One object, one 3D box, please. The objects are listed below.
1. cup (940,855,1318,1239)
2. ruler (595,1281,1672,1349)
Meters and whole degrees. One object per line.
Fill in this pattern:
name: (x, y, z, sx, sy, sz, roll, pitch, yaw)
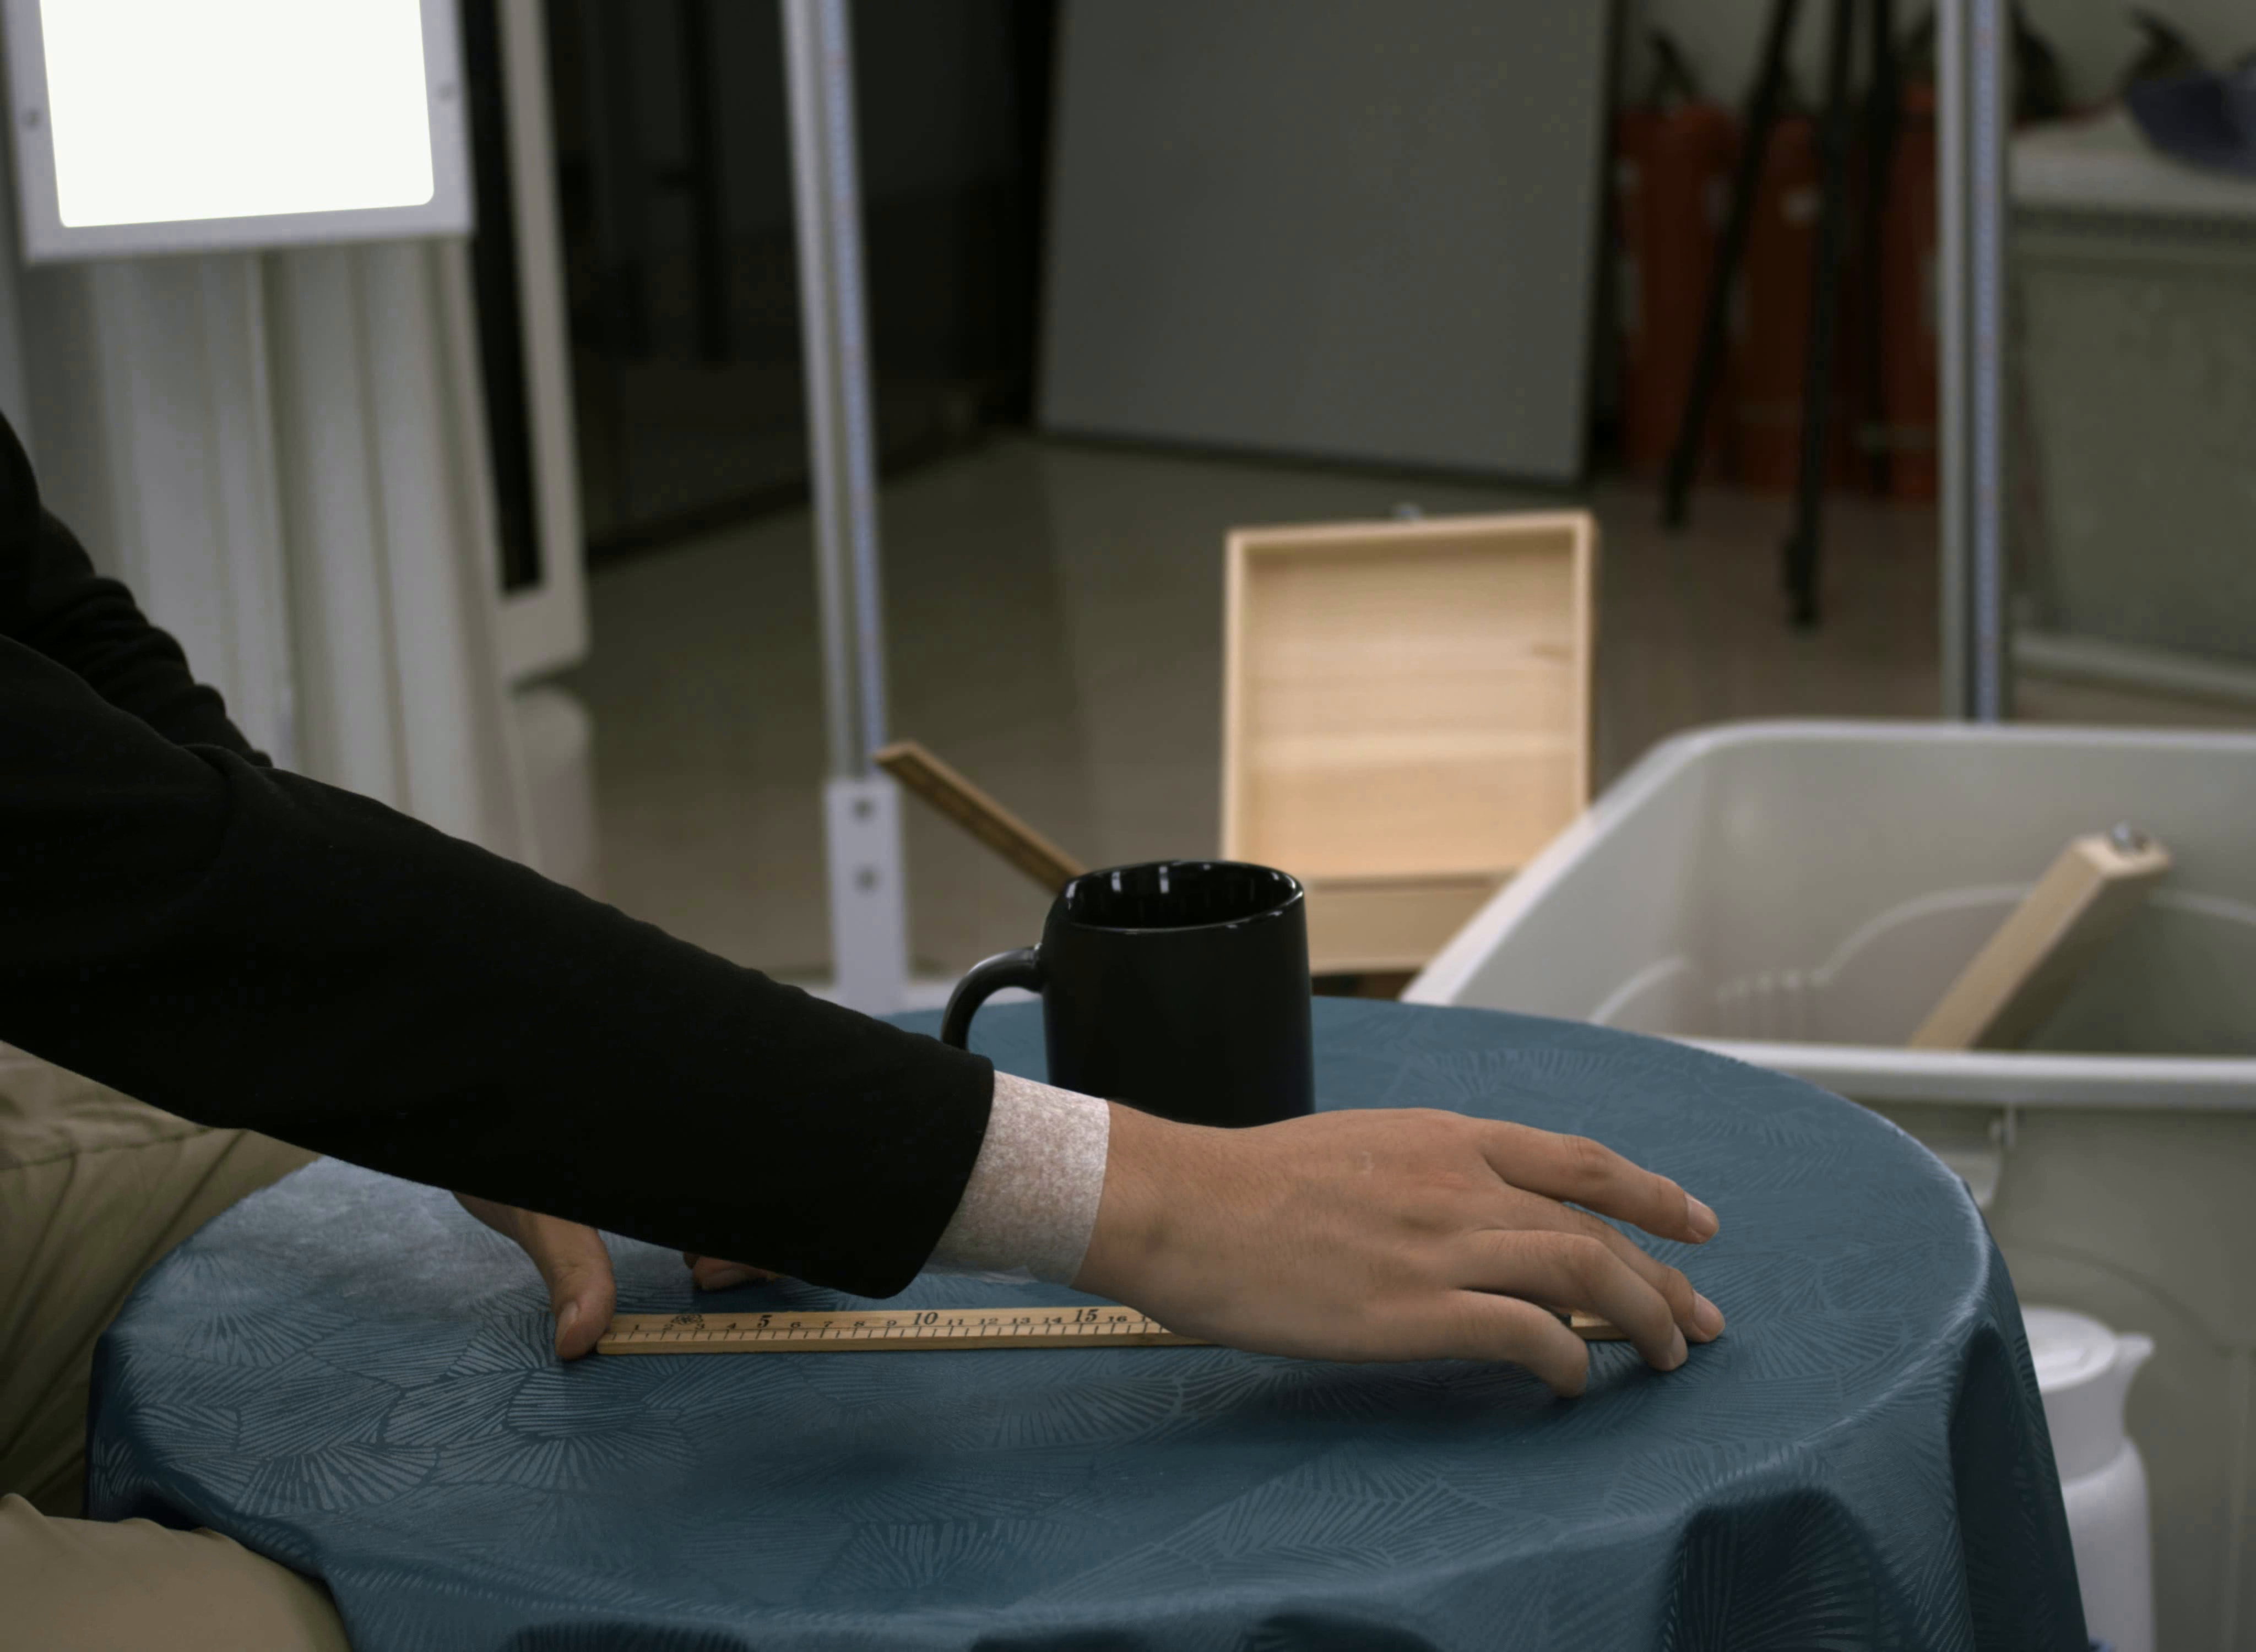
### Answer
cup: (-0.001, 0.072, 1.756, 0.122, 0.106, 0.088, -3, 15, 9)
ruler: (0.000, 0.149, 1.634, 0.329, 0.022, 0.027, -1, 10, 11)
